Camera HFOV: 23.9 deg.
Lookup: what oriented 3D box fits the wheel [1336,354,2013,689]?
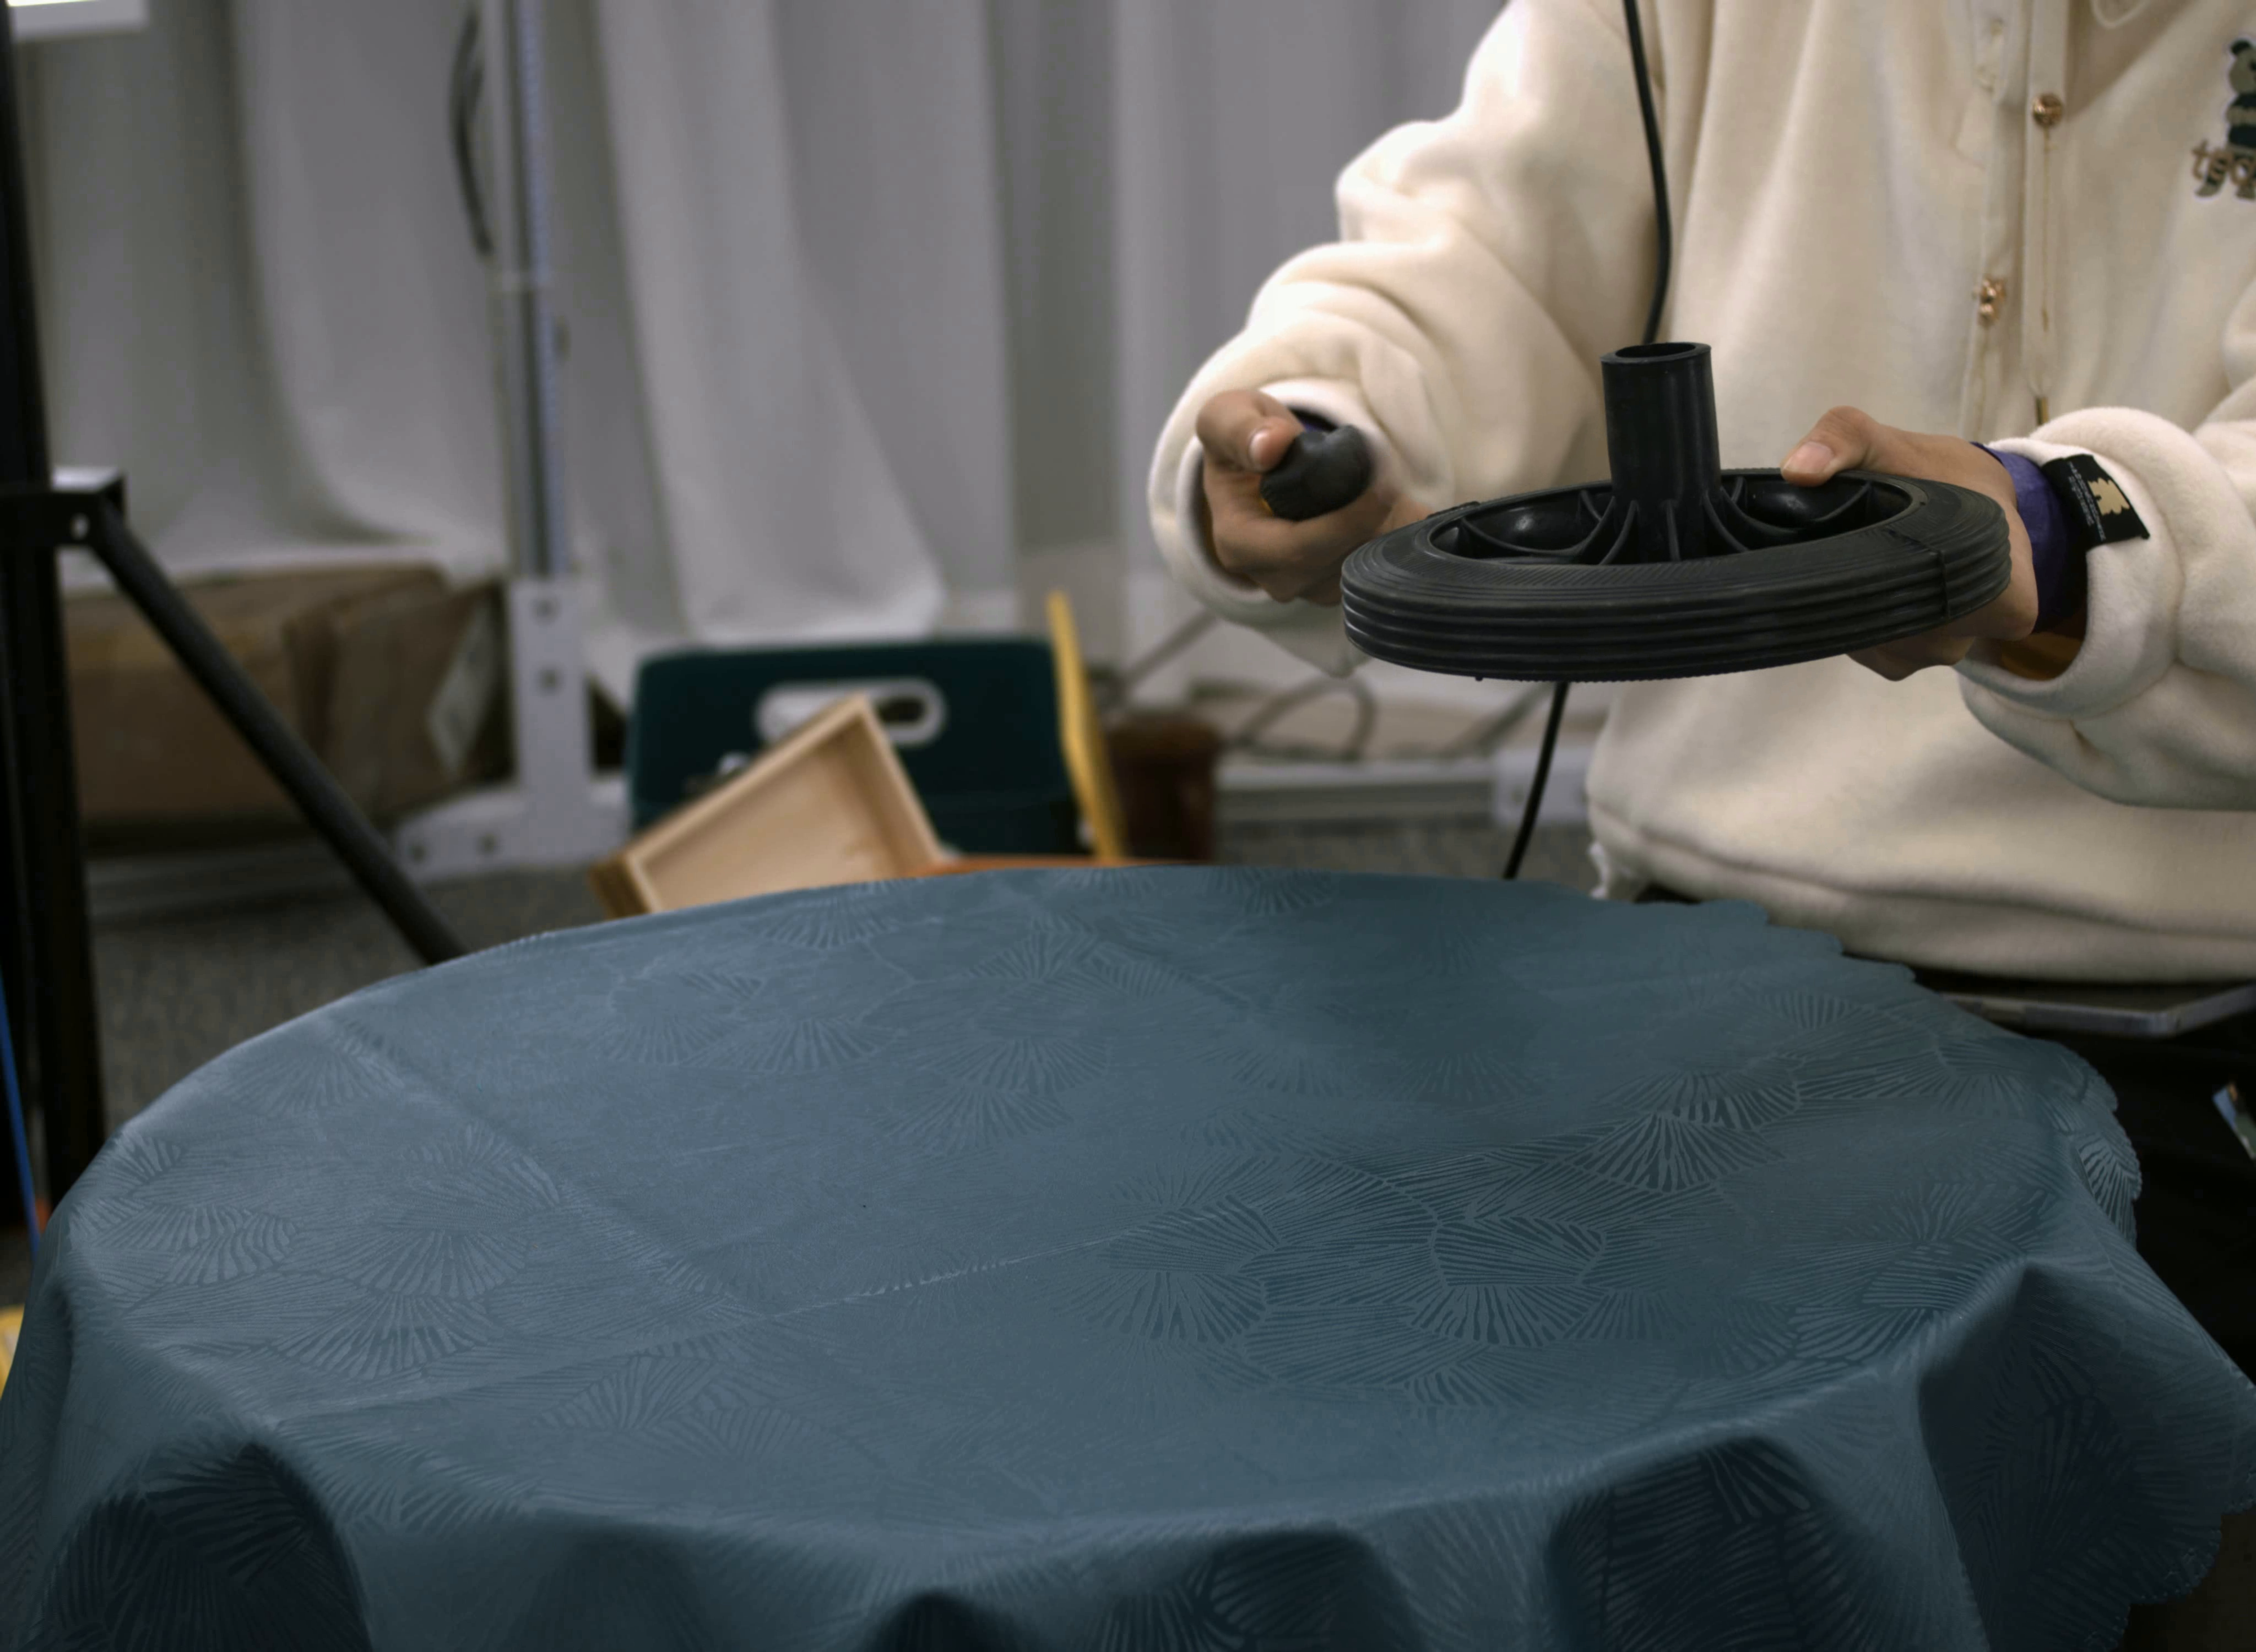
[{"bbox_3d":[0.150,-0.089,1.482,0.188,0.079,0.189,-9,13,-7],"label":"wheel"}]

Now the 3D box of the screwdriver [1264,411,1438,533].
[{"bbox_3d":[0.076,-0.111,1.667,0.031,0.031,0.199,-5,0,-12],"label":"screwdriver"}]
